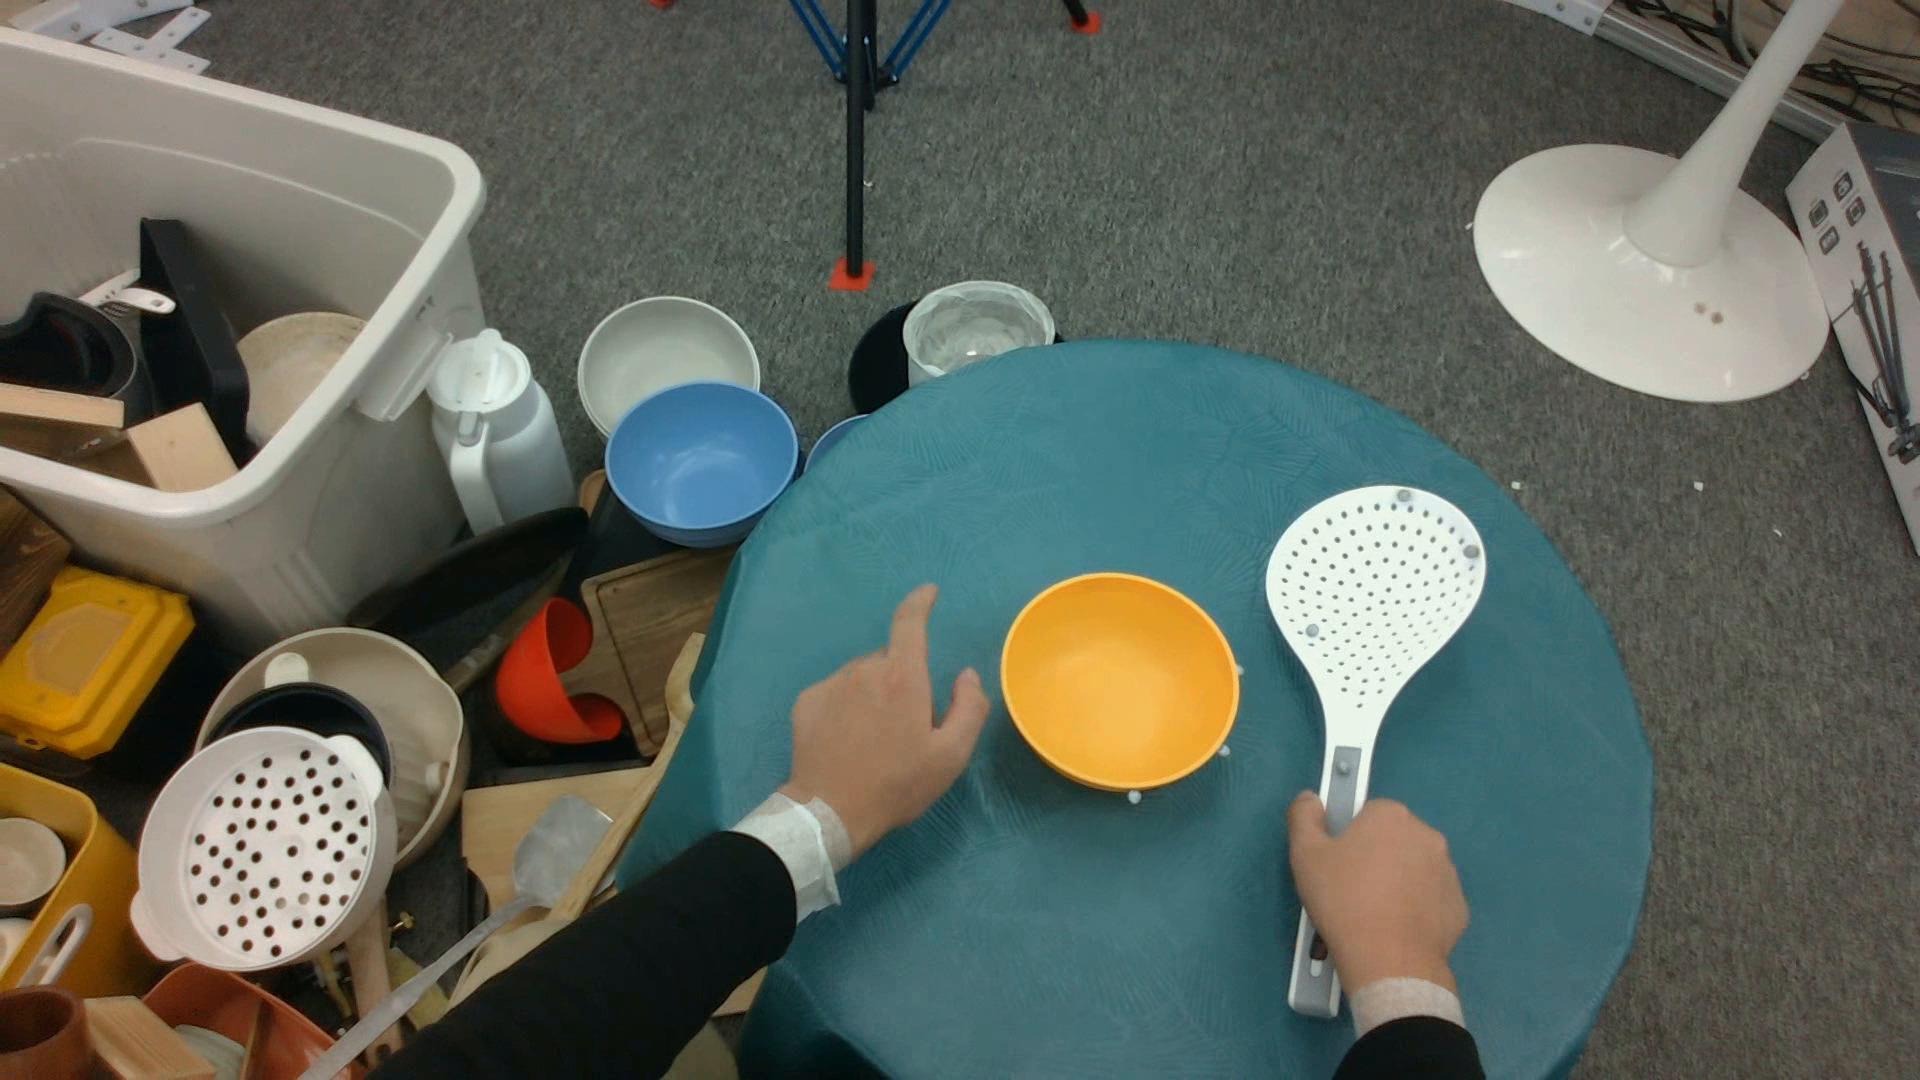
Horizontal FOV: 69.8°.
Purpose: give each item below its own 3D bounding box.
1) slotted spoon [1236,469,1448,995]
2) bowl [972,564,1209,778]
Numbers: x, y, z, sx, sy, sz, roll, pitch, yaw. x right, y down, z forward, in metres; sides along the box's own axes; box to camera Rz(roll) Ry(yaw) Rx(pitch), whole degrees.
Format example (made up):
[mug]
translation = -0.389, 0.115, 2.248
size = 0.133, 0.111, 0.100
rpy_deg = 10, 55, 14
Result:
[slotted spoon]
translation = 0.222, 0.104, 0.848
size = 0.136, 0.045, 0.351
rpy_deg = 0, 52, 27
[bowl]
translation = 0.076, 0.089, 0.847
size = 0.145, 0.060, 0.146
rpy_deg = 3, 54, -4
